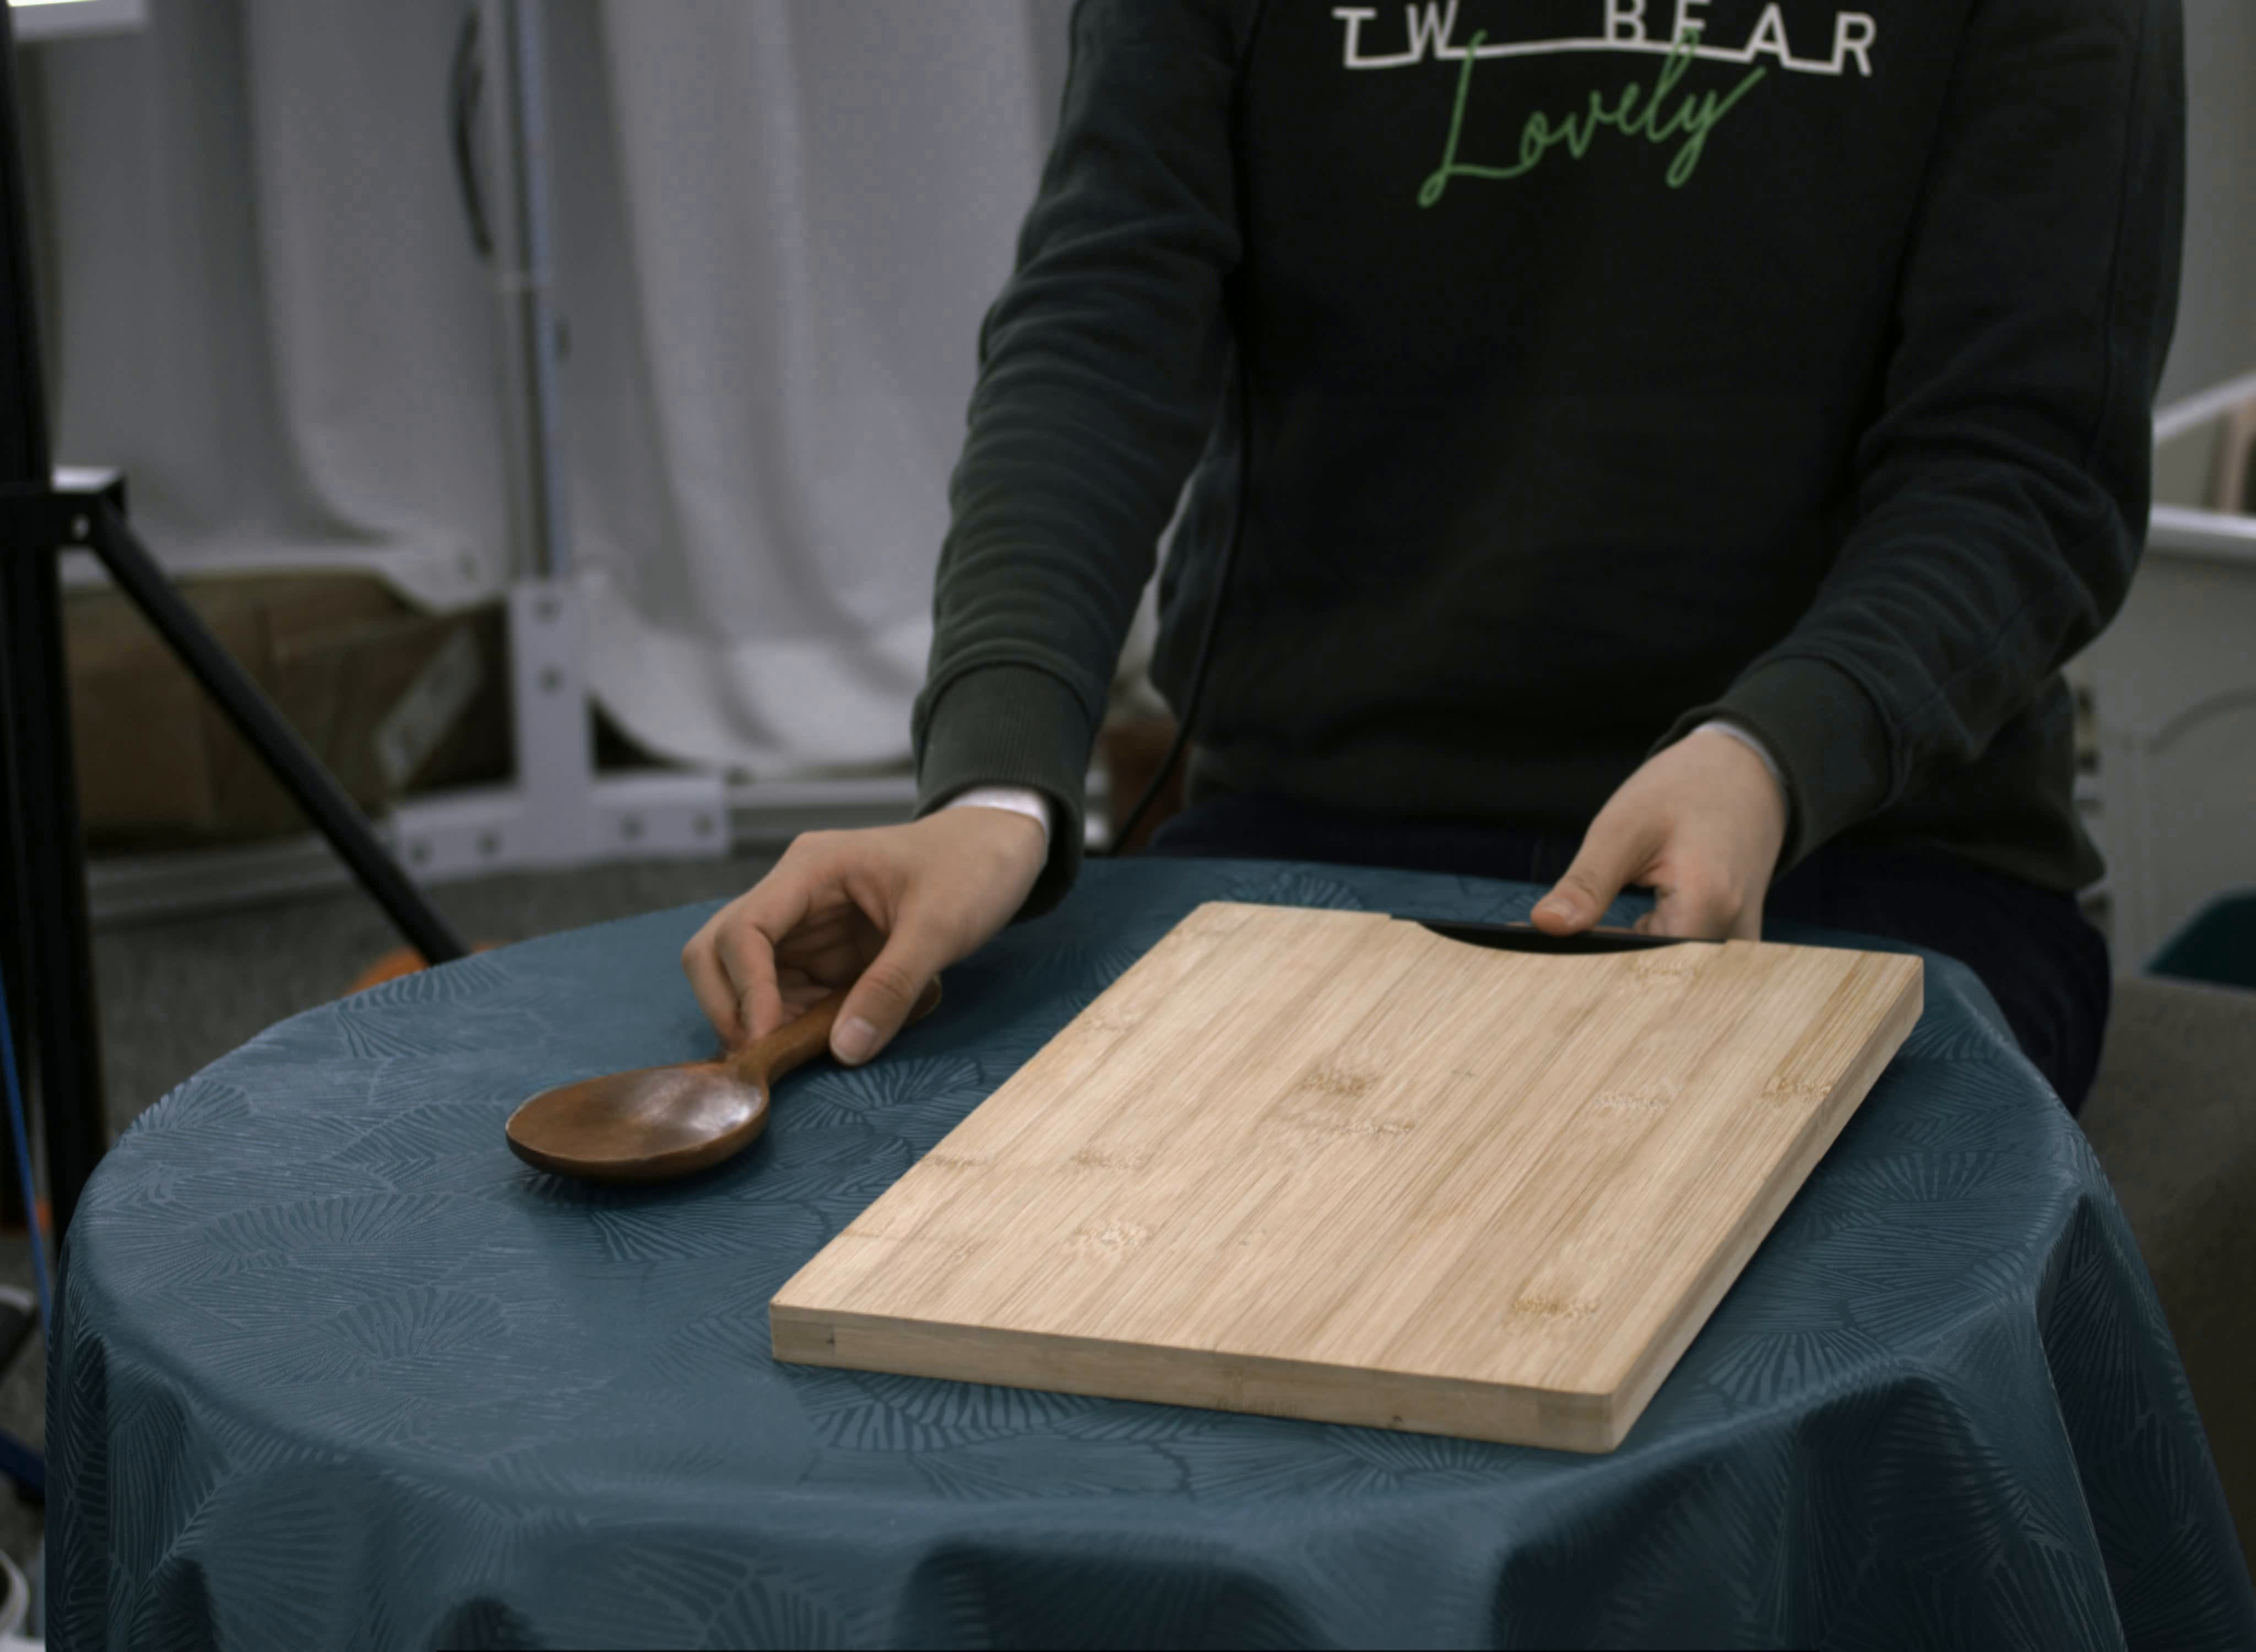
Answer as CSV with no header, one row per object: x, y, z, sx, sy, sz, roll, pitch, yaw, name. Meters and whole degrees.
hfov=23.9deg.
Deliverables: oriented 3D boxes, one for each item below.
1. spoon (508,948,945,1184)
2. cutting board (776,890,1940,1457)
-0.116,0.076,1.658,0.077,0.017,0.212,4,18,28,spoon
0.078,0.092,1.544,0.254,0.023,0.344,4,20,21,cutting board
